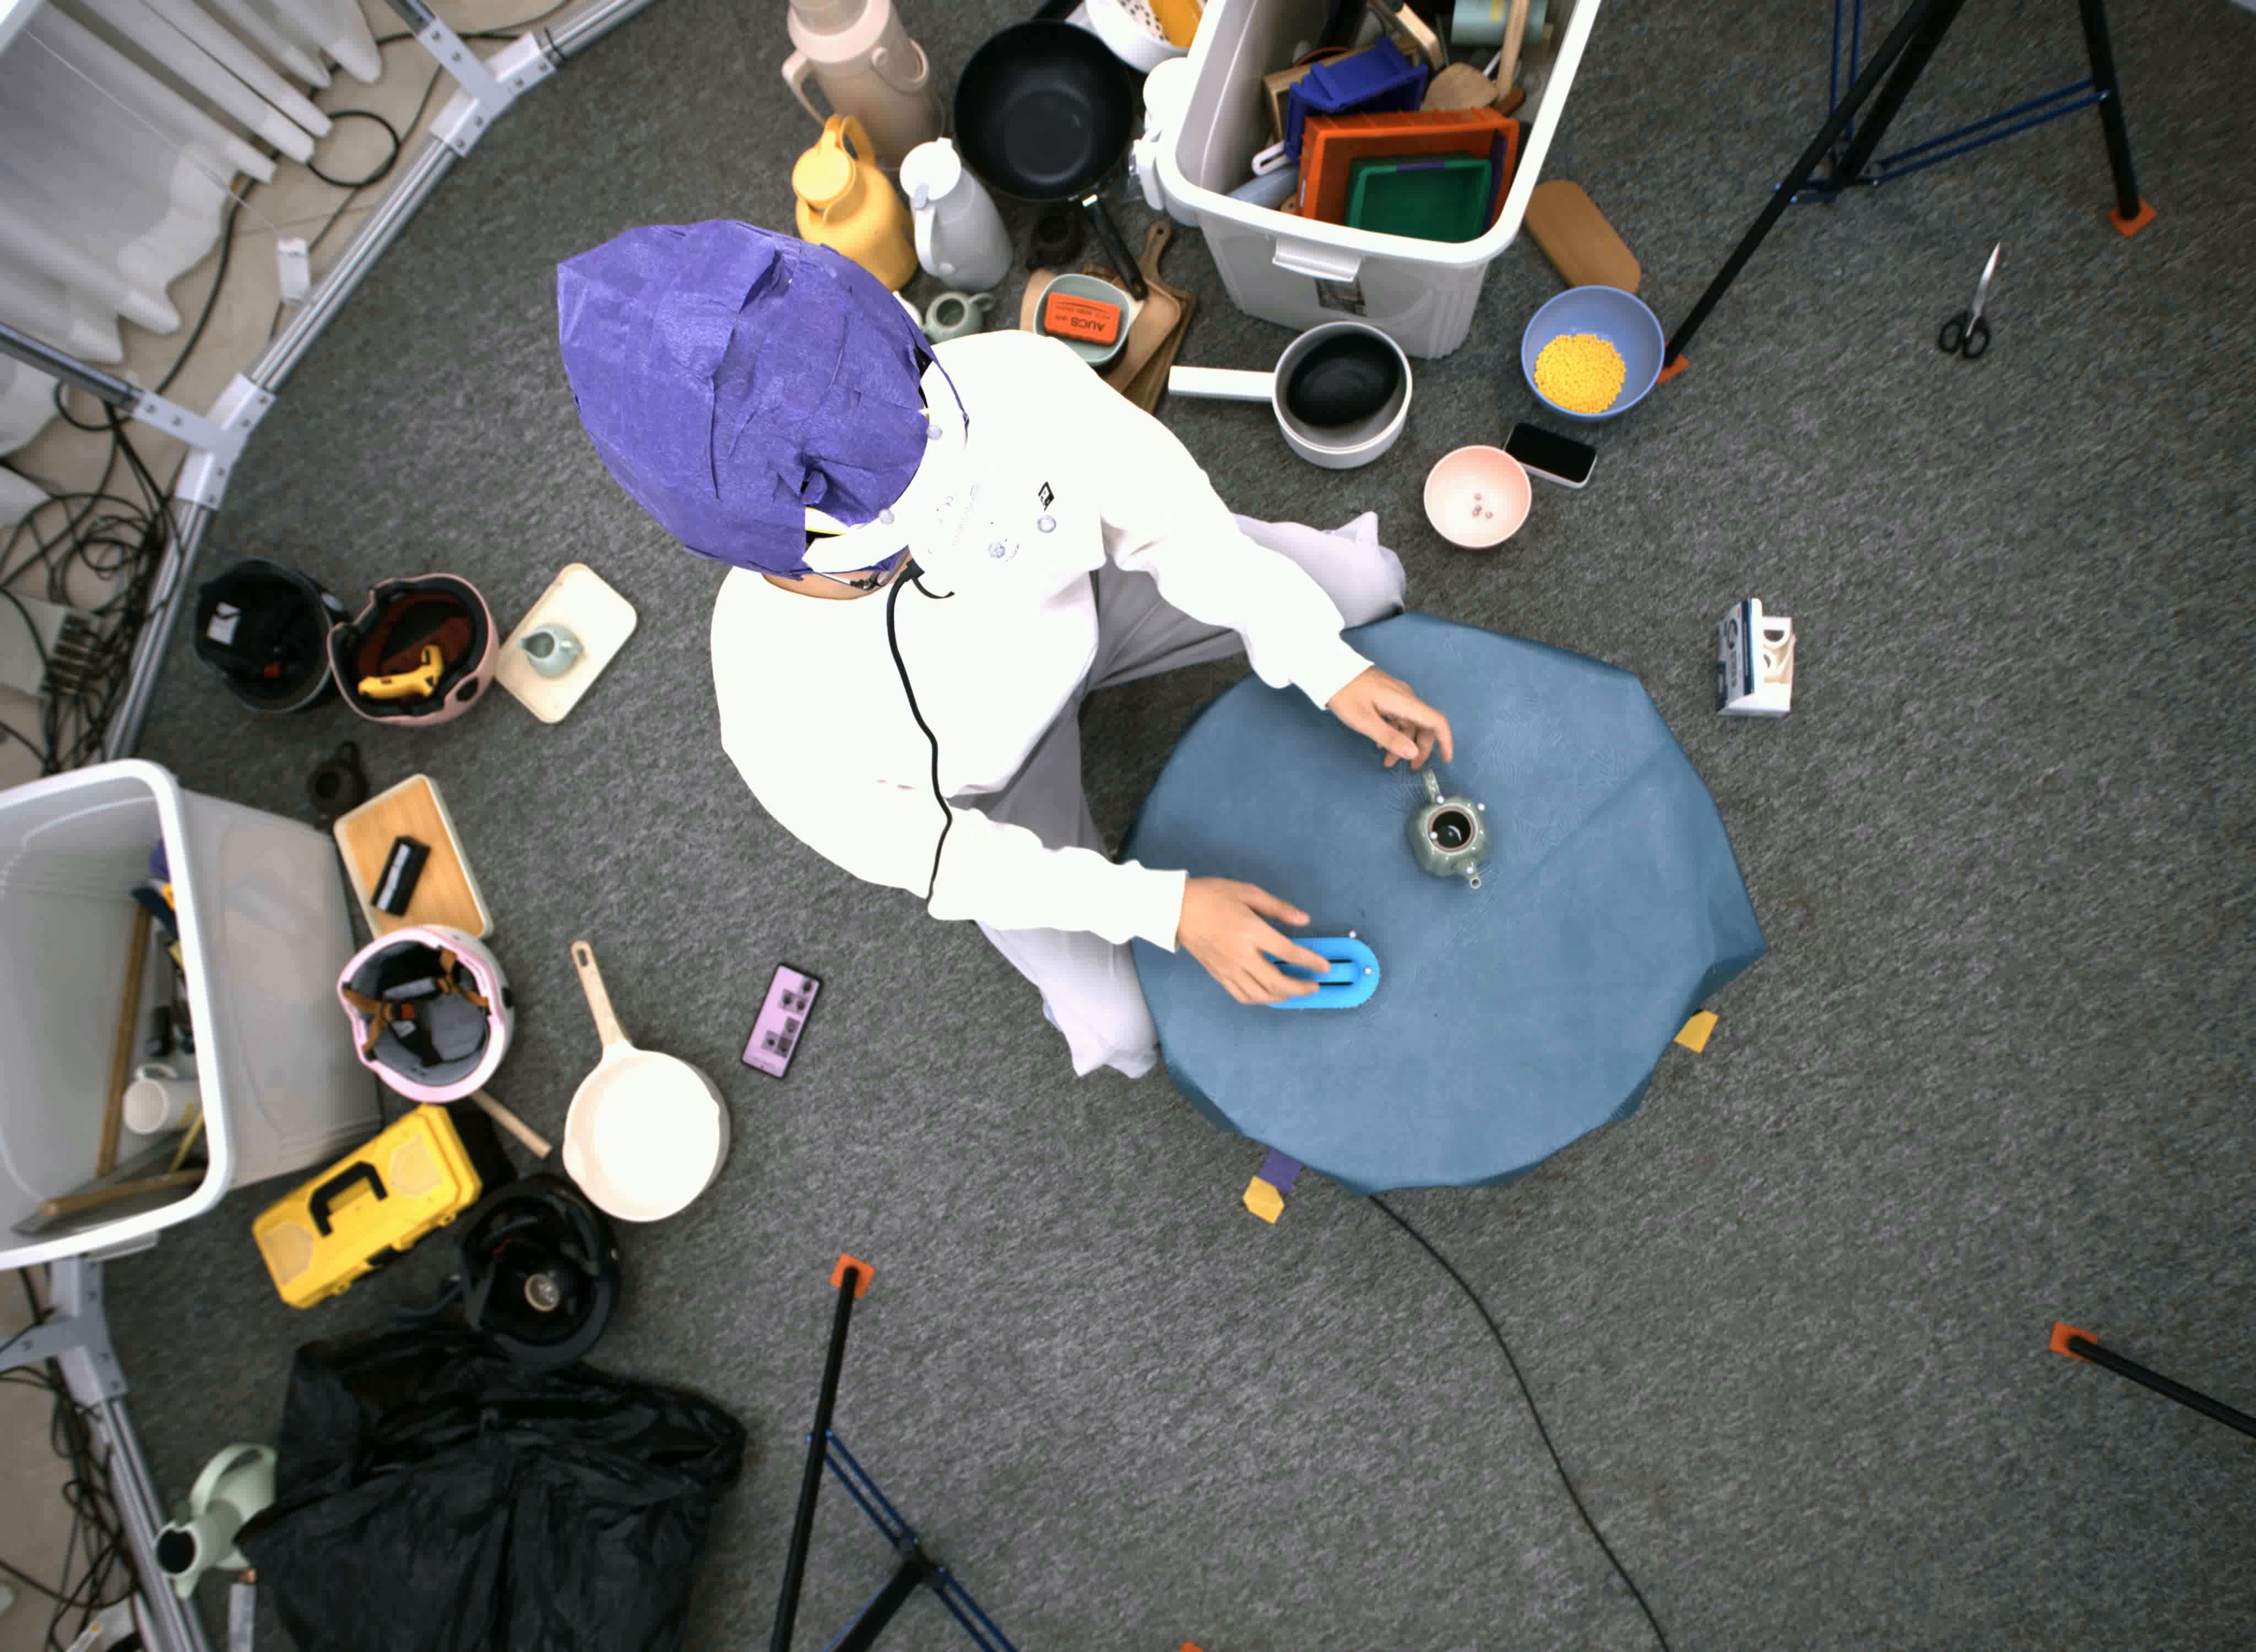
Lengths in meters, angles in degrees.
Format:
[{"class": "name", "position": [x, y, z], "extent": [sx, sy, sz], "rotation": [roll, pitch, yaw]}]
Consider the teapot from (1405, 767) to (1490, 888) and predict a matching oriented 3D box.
[{"class": "teapot", "position": [0.330, 0.003, 1.415], "extent": [0.080, 0.075, 0.131], "rotation": [-22, 82, 7]}]

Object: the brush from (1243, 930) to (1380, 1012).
[{"class": "brush", "position": [0.190, 0.150, 1.437], "extent": [0.142, 0.063, 0.084], "rotation": [0, 91, 11]}]
